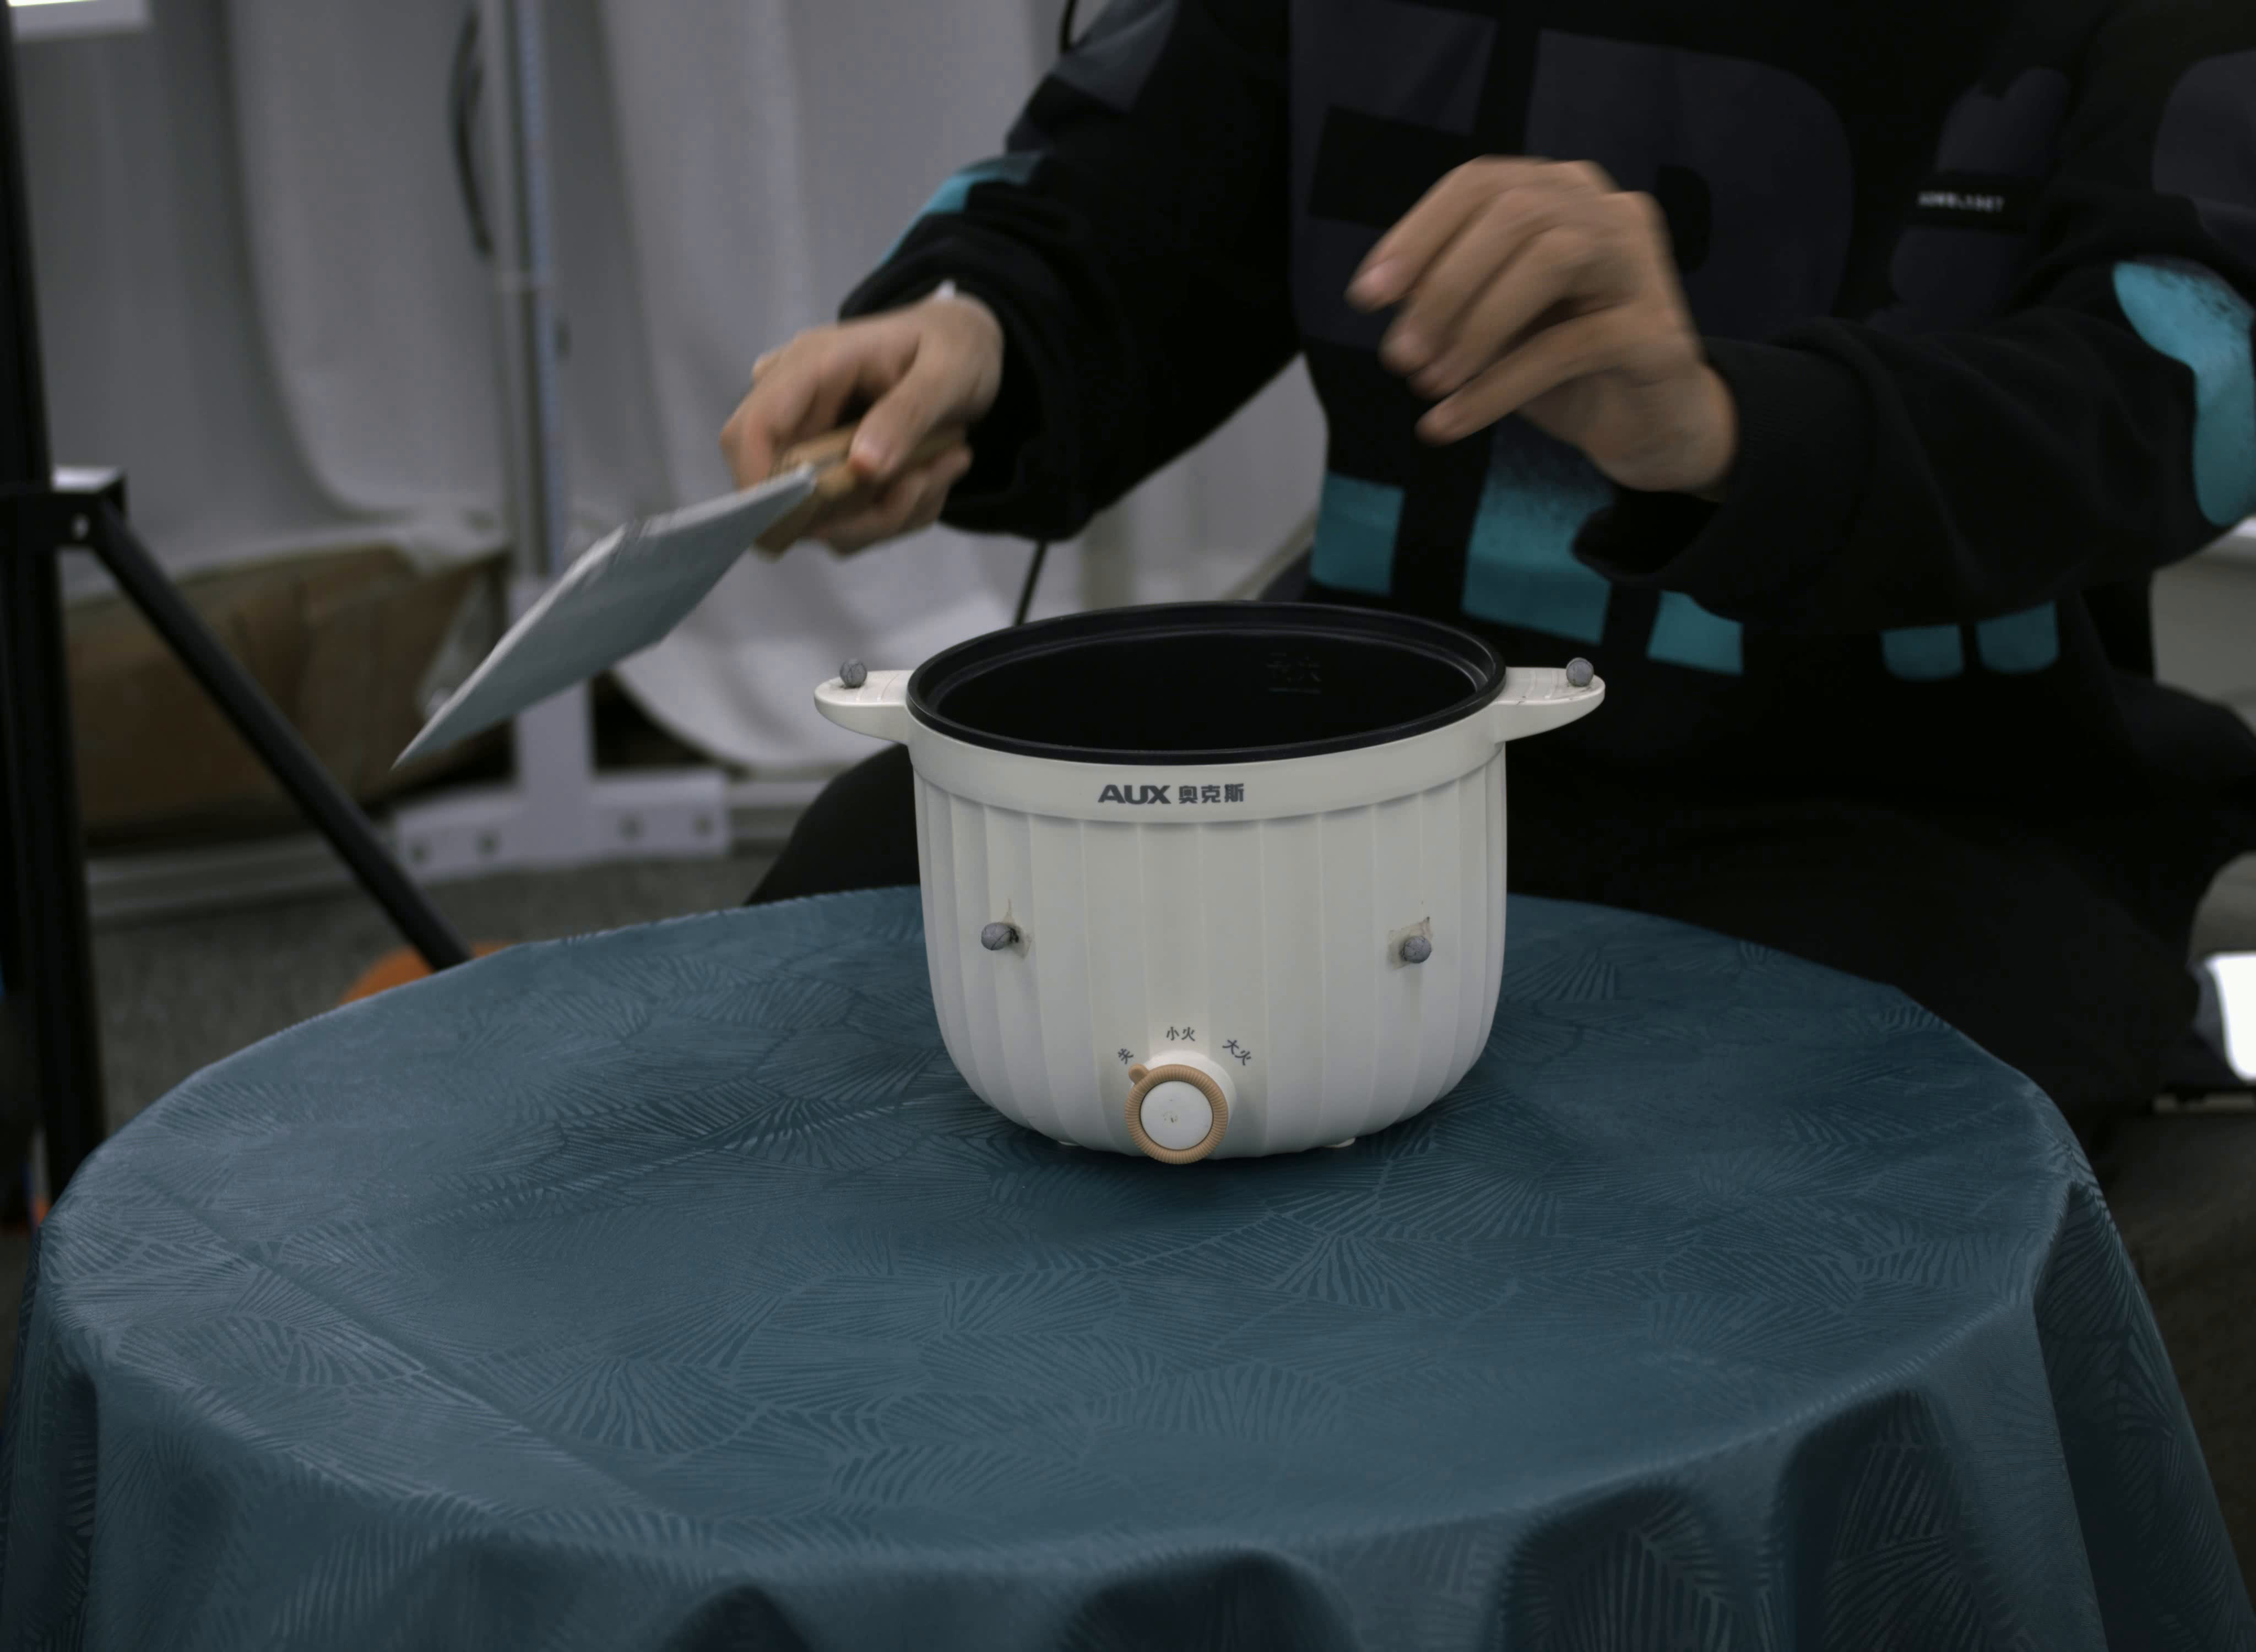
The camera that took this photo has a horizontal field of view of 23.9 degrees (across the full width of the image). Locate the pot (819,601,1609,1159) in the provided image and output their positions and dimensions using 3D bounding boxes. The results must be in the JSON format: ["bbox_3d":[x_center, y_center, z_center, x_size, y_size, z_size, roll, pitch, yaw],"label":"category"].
[{"bbox_3d":[0.027,0.019,1.612,0.241,0.143,0.190,-1,13,9],"label":"pot"}]

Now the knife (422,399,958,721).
[{"bbox_3d":[-0.128,-0.095,1.717,0.022,0.115,0.311,46,27,5],"label":"knife"}]
